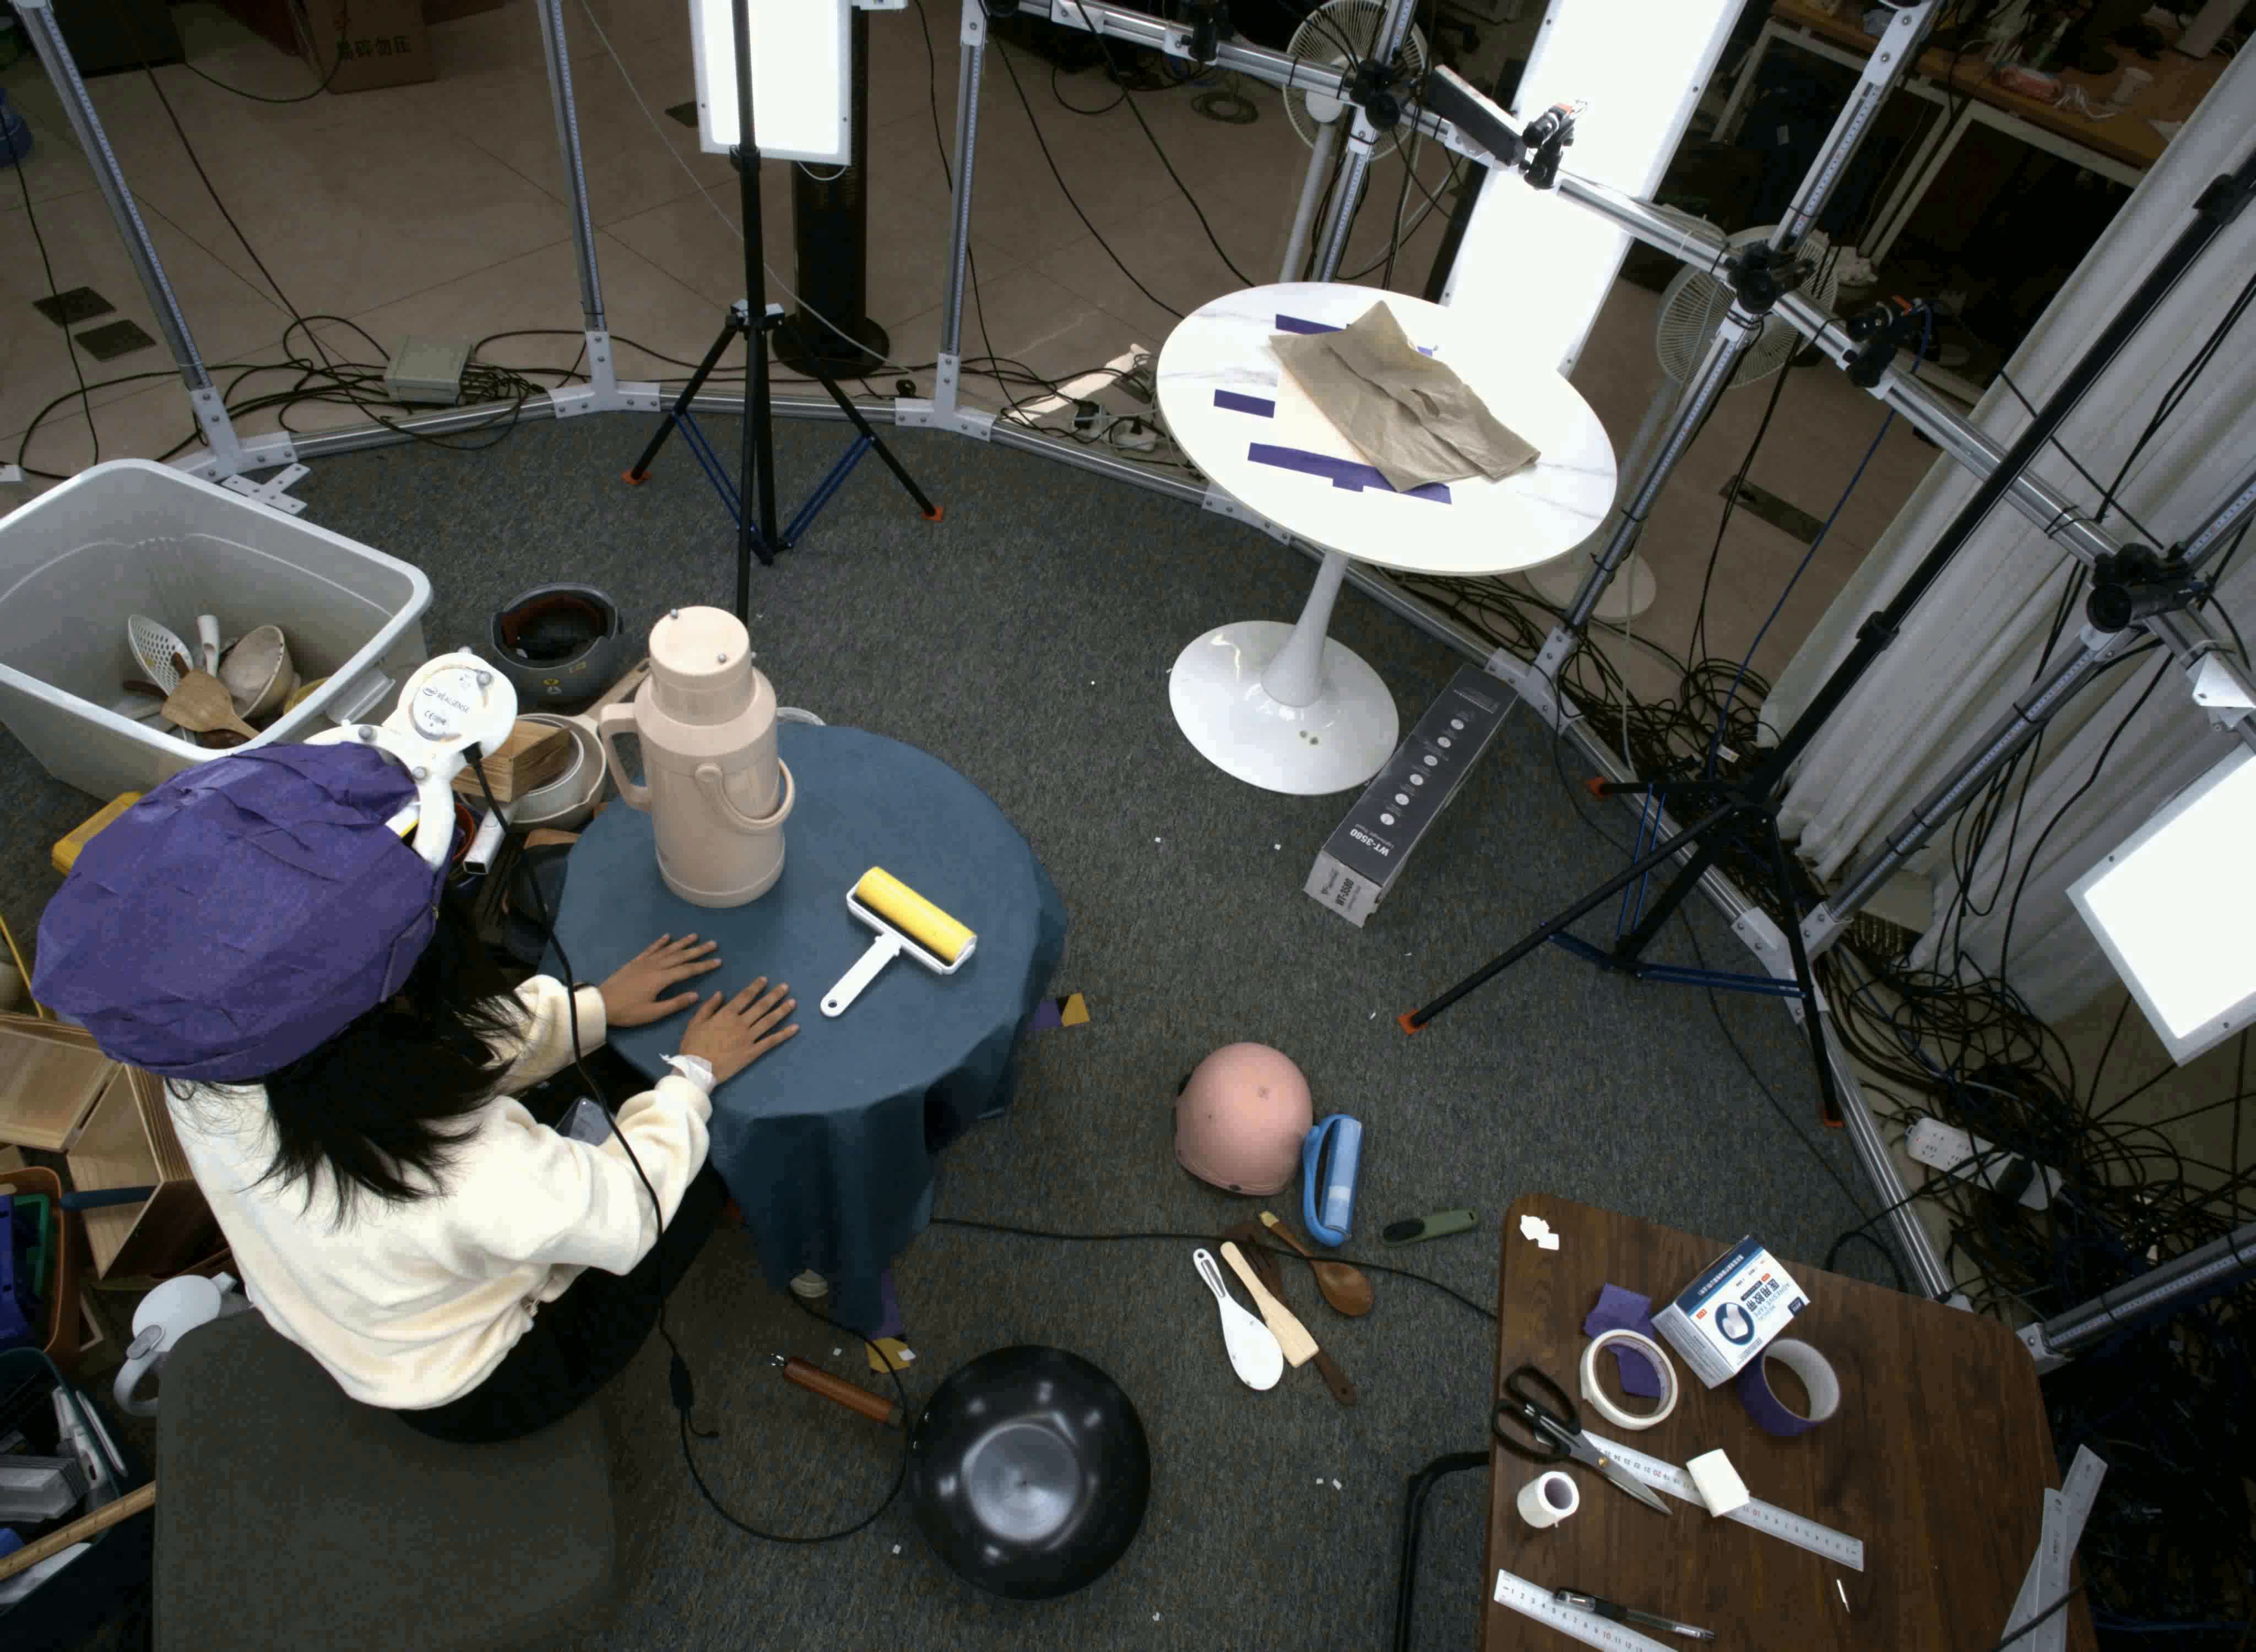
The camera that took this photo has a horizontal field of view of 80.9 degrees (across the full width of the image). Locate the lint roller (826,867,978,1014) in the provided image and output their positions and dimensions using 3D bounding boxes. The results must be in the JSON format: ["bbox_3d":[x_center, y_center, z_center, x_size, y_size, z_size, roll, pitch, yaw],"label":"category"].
[{"bbox_3d":[-0.304,0.152,1.602,0.171,0.052,0.191,32,46,11],"label":"lint roller"}]

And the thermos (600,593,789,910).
[{"bbox_3d":[-0.505,-0.083,1.503,0.207,0.415,0.171,-5,54,-16],"label":"thermos"}]
